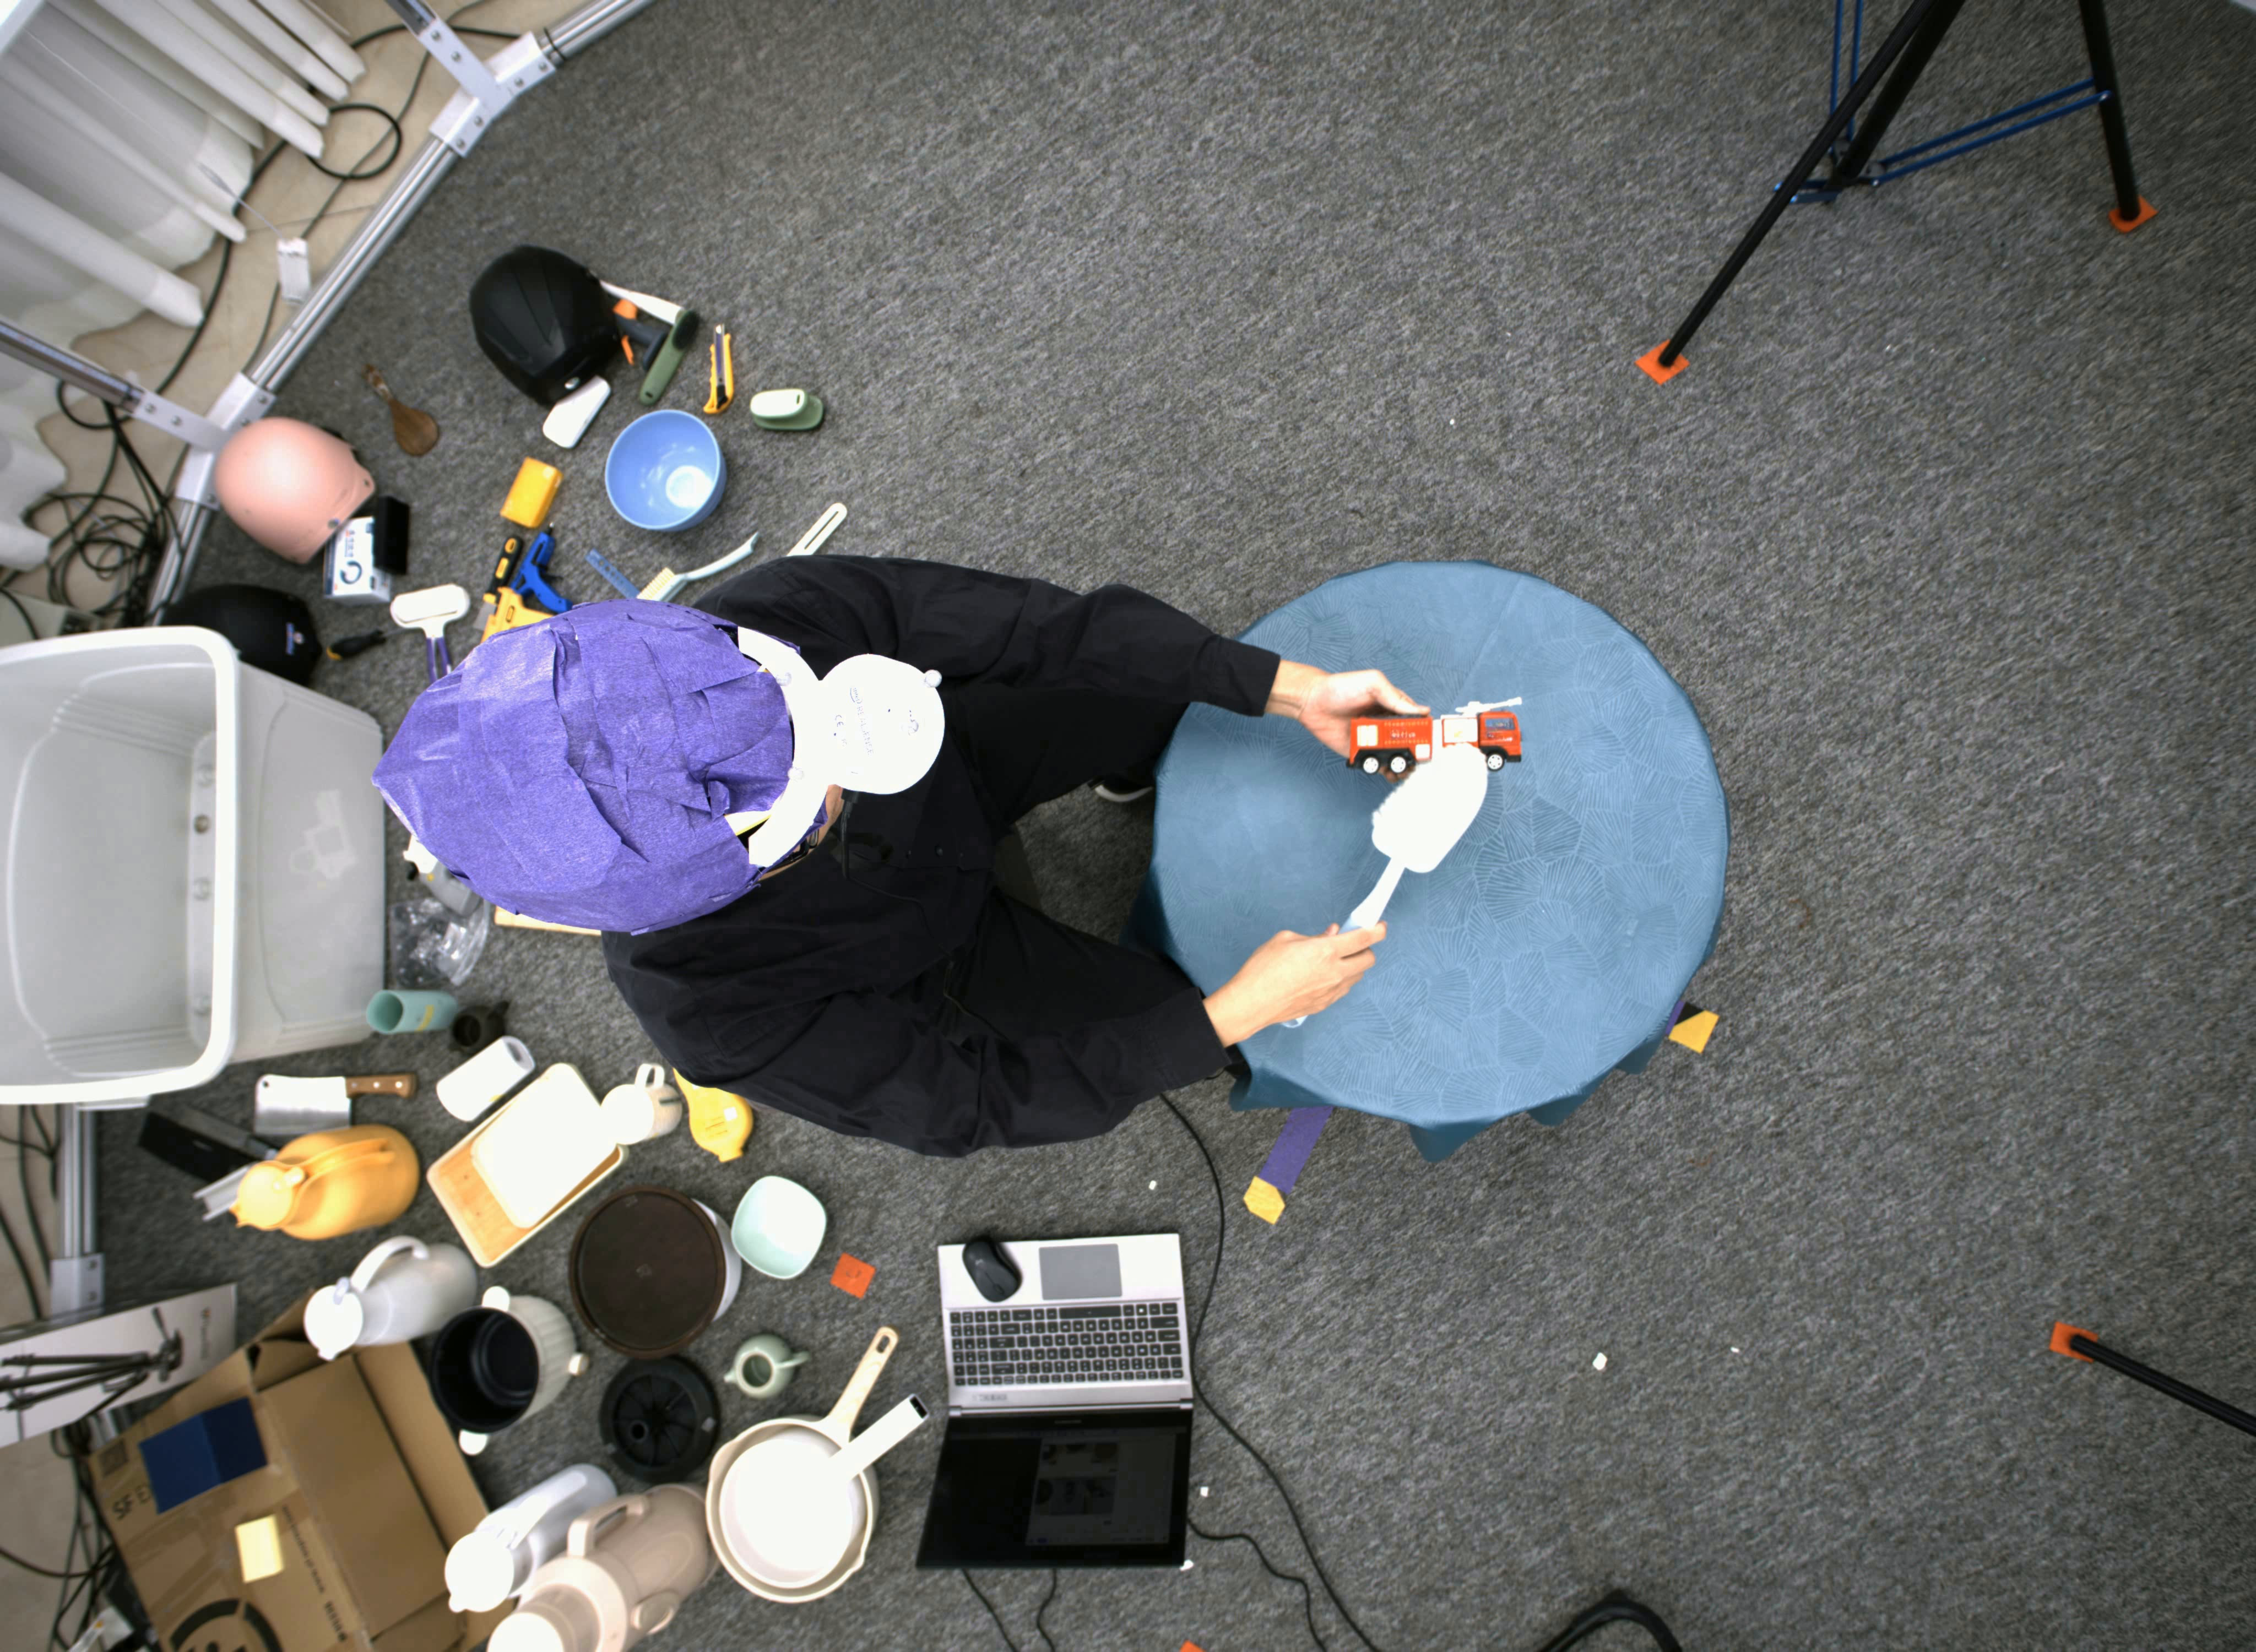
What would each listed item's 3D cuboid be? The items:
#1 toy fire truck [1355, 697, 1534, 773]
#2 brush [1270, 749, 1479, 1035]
[{"bbox_3d":[0.298,-0.086,1.295,0.168,0.053,0.071,-2,99,9],"label":"toy fire truck"},{"bbox_3d":[0.227,0.059,1.325,0.082,0.084,0.331,44,113,29],"label":"brush"}]
